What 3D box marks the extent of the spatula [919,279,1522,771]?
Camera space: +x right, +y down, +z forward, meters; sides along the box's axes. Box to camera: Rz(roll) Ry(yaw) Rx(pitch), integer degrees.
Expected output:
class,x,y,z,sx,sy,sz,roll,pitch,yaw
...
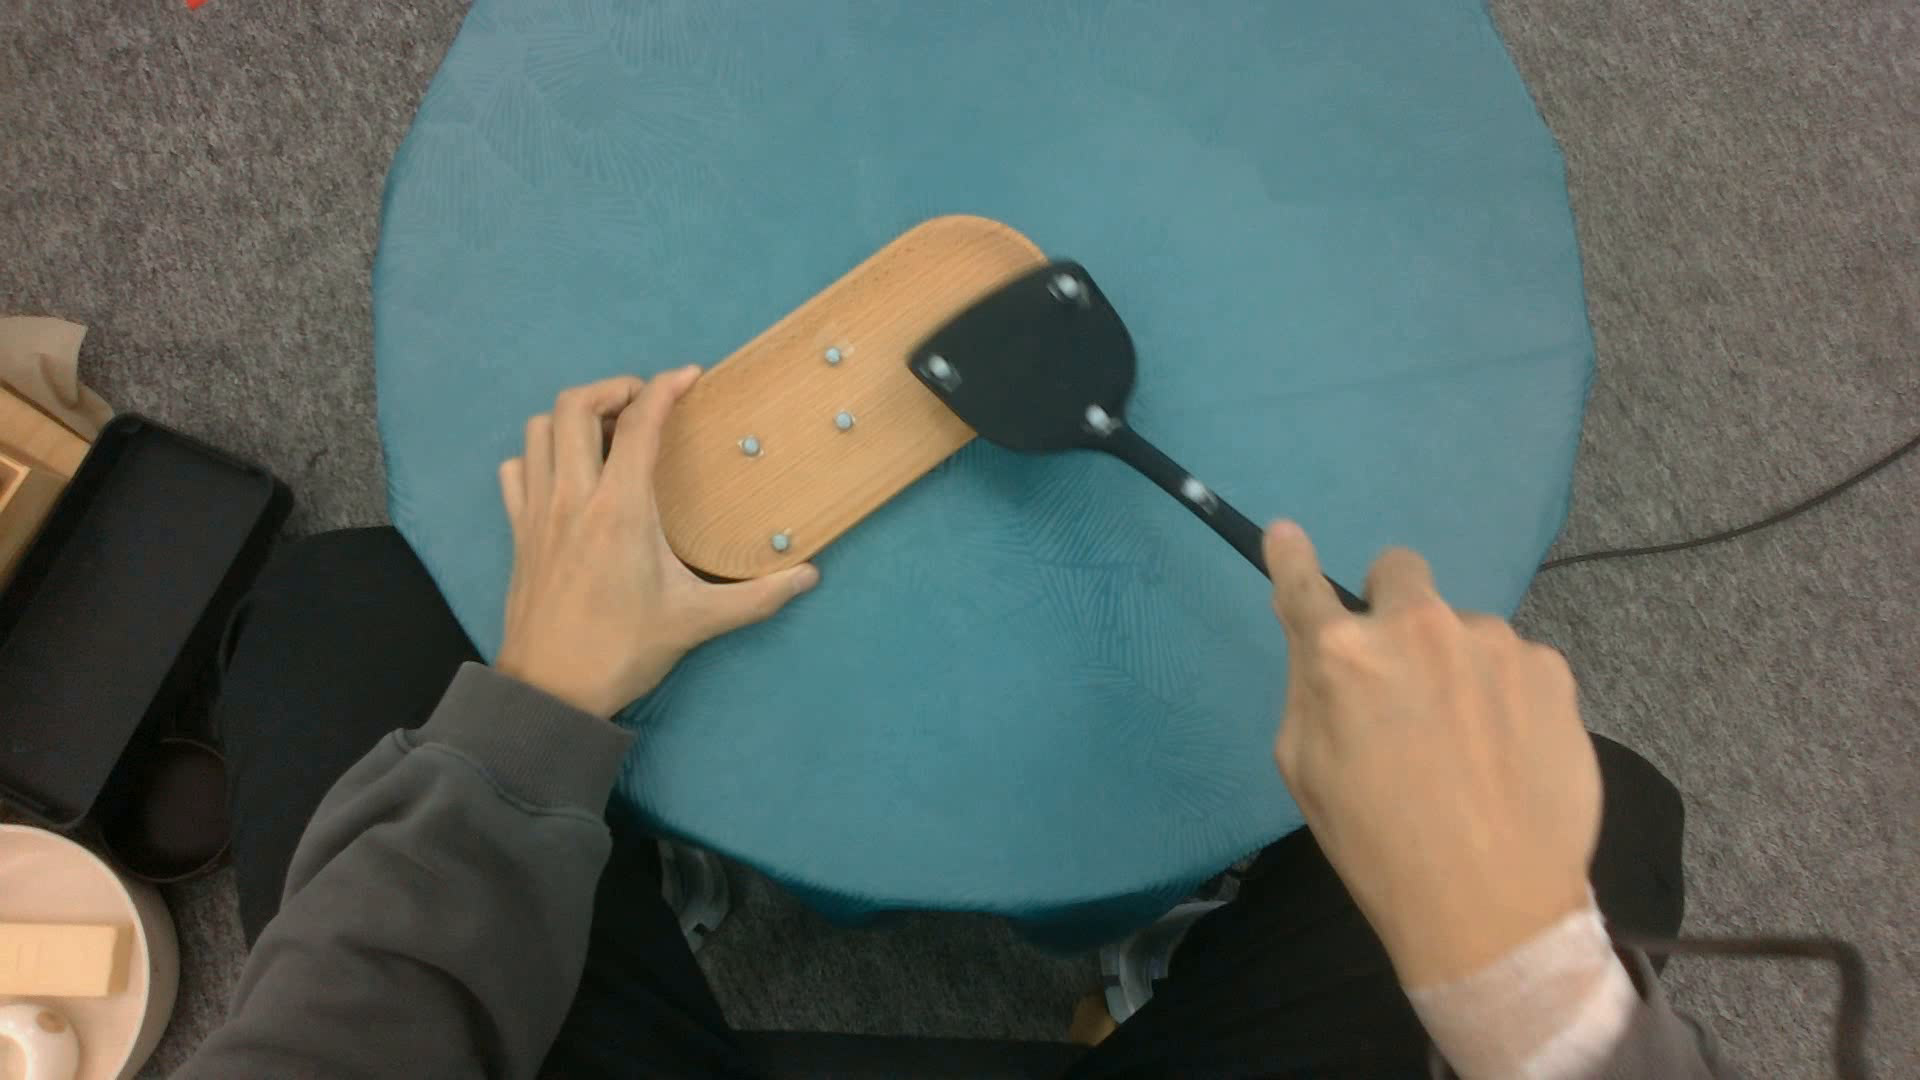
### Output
class,x,y,z,sx,sy,sz,roll,pitch,yaw
spatula,0.097,-0.016,0.555,0.100,0.040,0.326,-34,42,-10

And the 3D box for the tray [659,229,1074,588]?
class,x,y,z,sx,sy,sz,roll,pitch,yaw
tray,-0.042,-0.065,0.677,0.231,0.020,0.102,-37,83,-9
